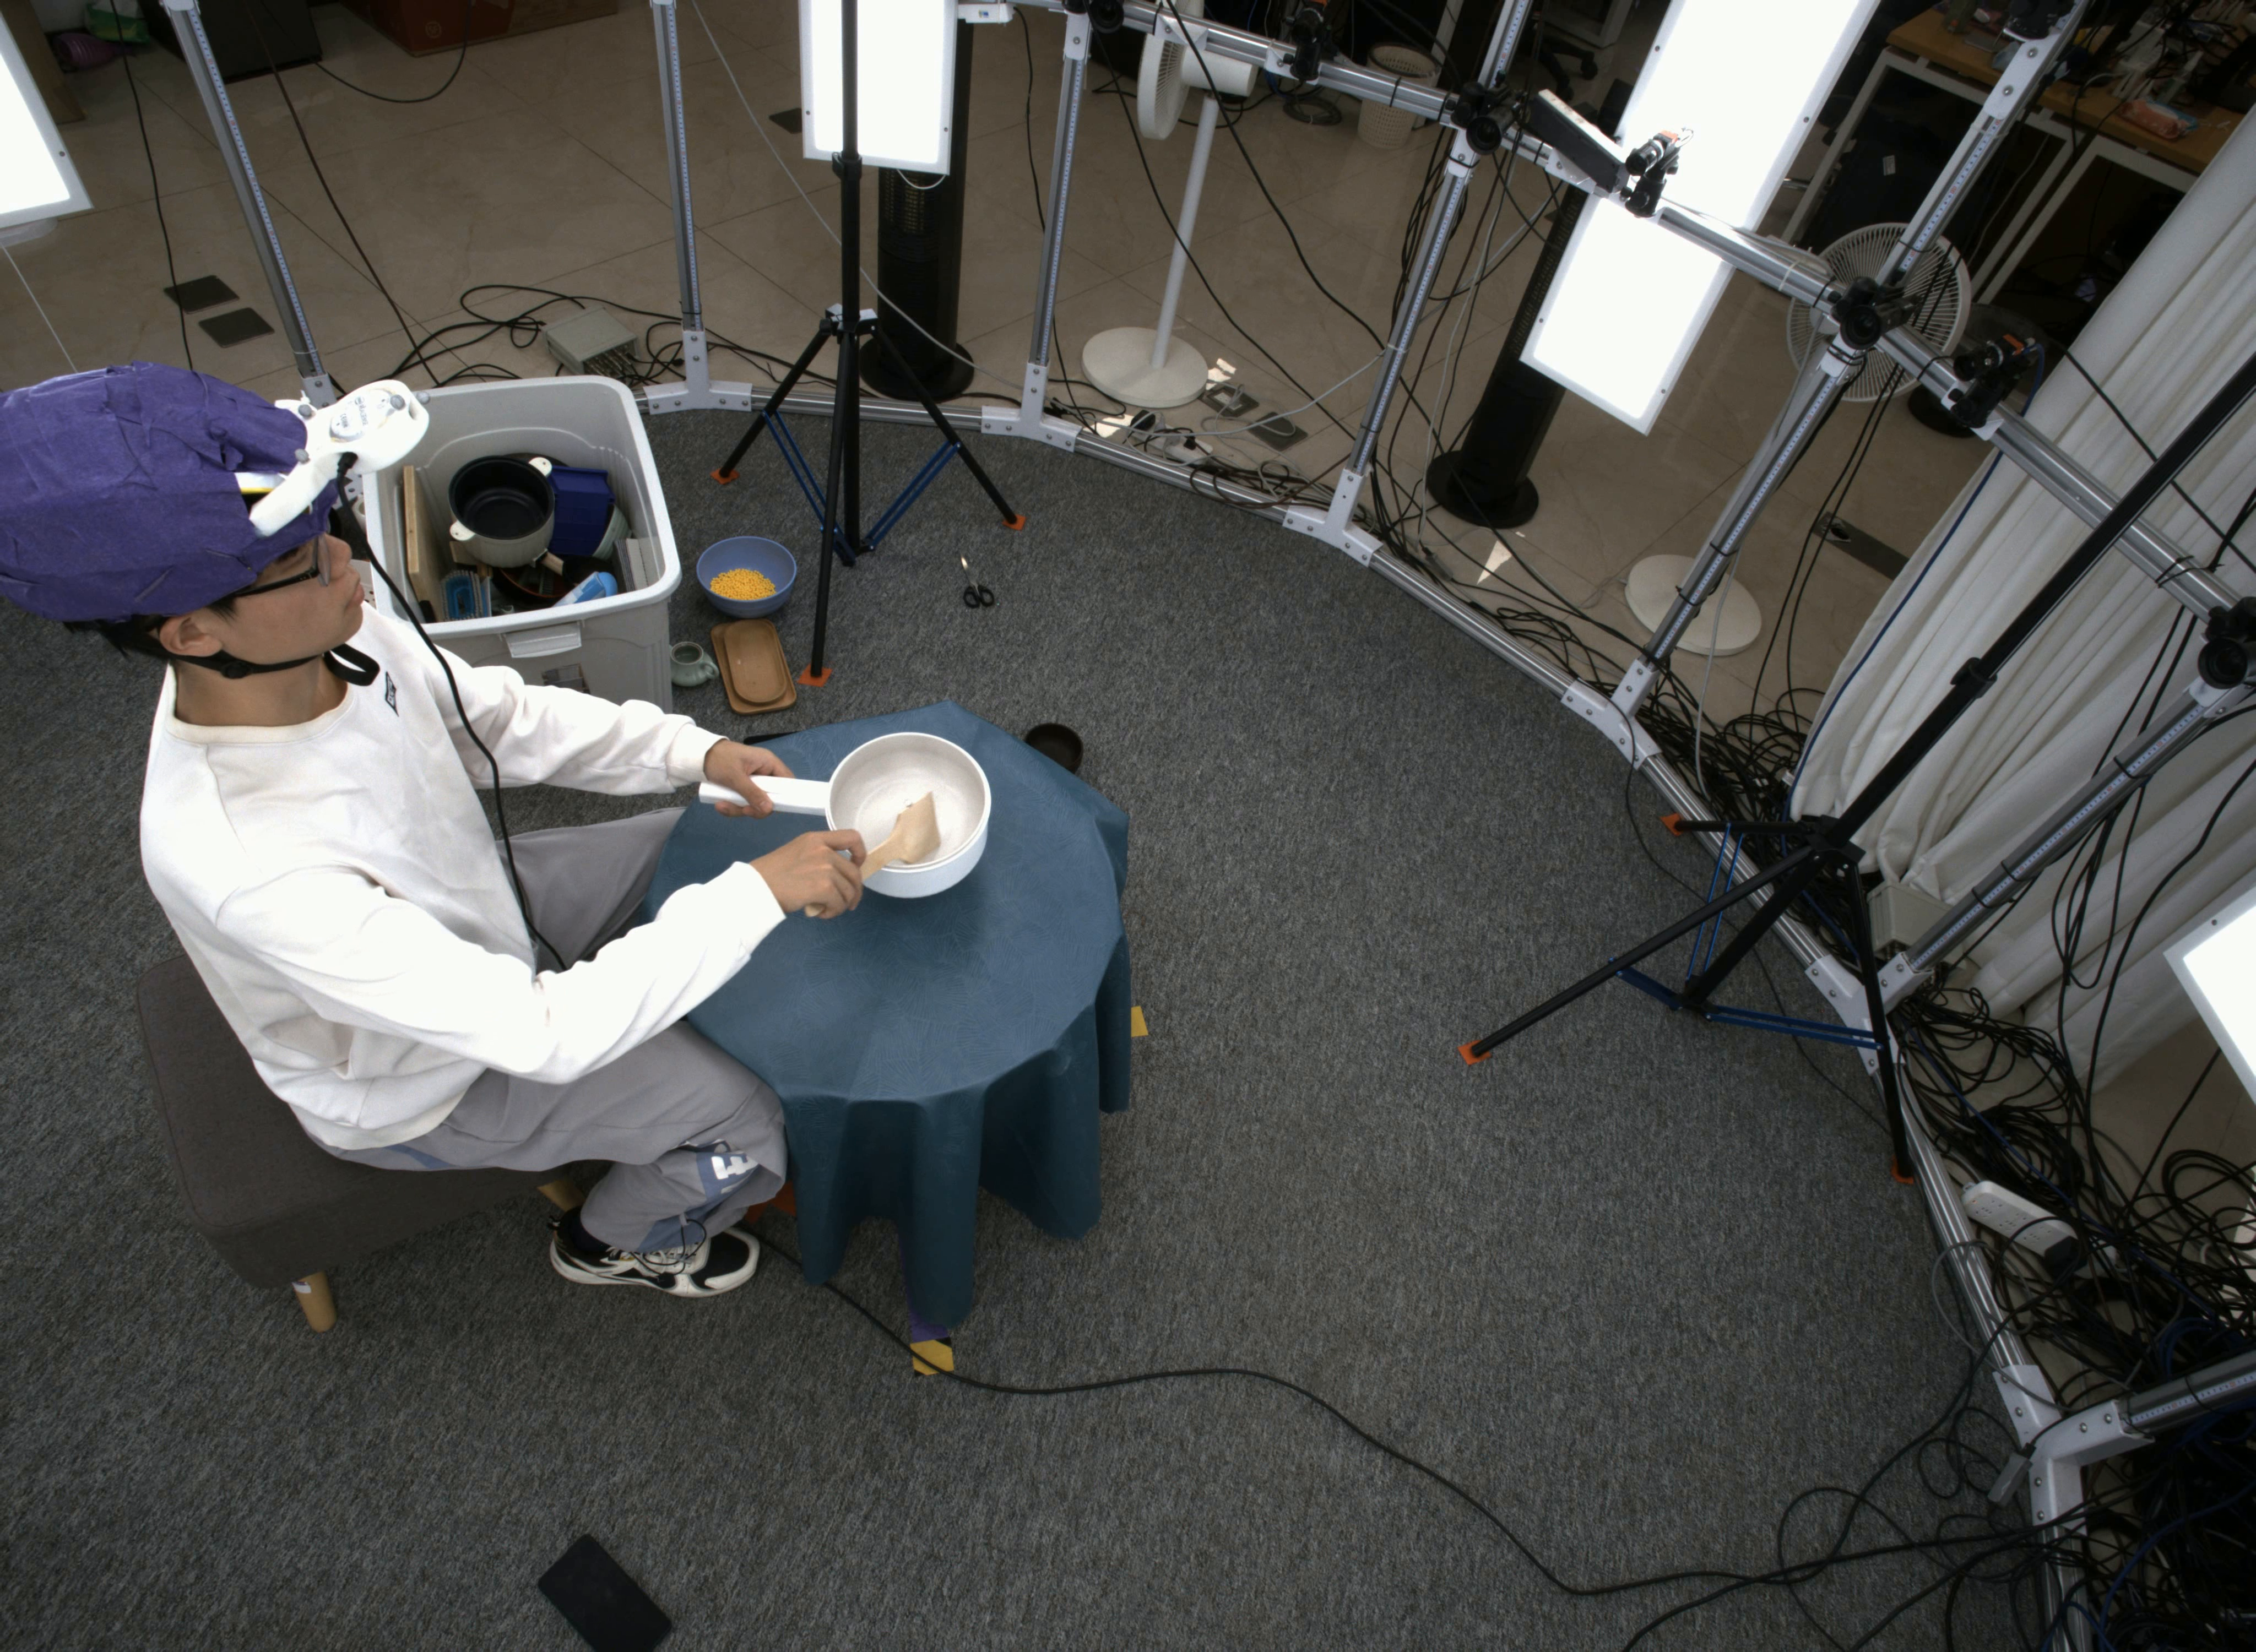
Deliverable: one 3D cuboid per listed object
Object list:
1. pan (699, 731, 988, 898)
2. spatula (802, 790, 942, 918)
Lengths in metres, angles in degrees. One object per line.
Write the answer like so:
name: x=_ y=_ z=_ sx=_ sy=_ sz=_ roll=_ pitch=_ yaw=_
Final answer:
pan: x=-0.352 y=-0.017 z=1.630 sx=0.352 sy=0.104 sz=0.198 roll=5 pitch=60 yaw=-5
spatula: x=-0.290 y=0.035 z=1.502 sx=0.010 sy=0.074 sz=0.293 roll=3 pitch=21 yaw=22
